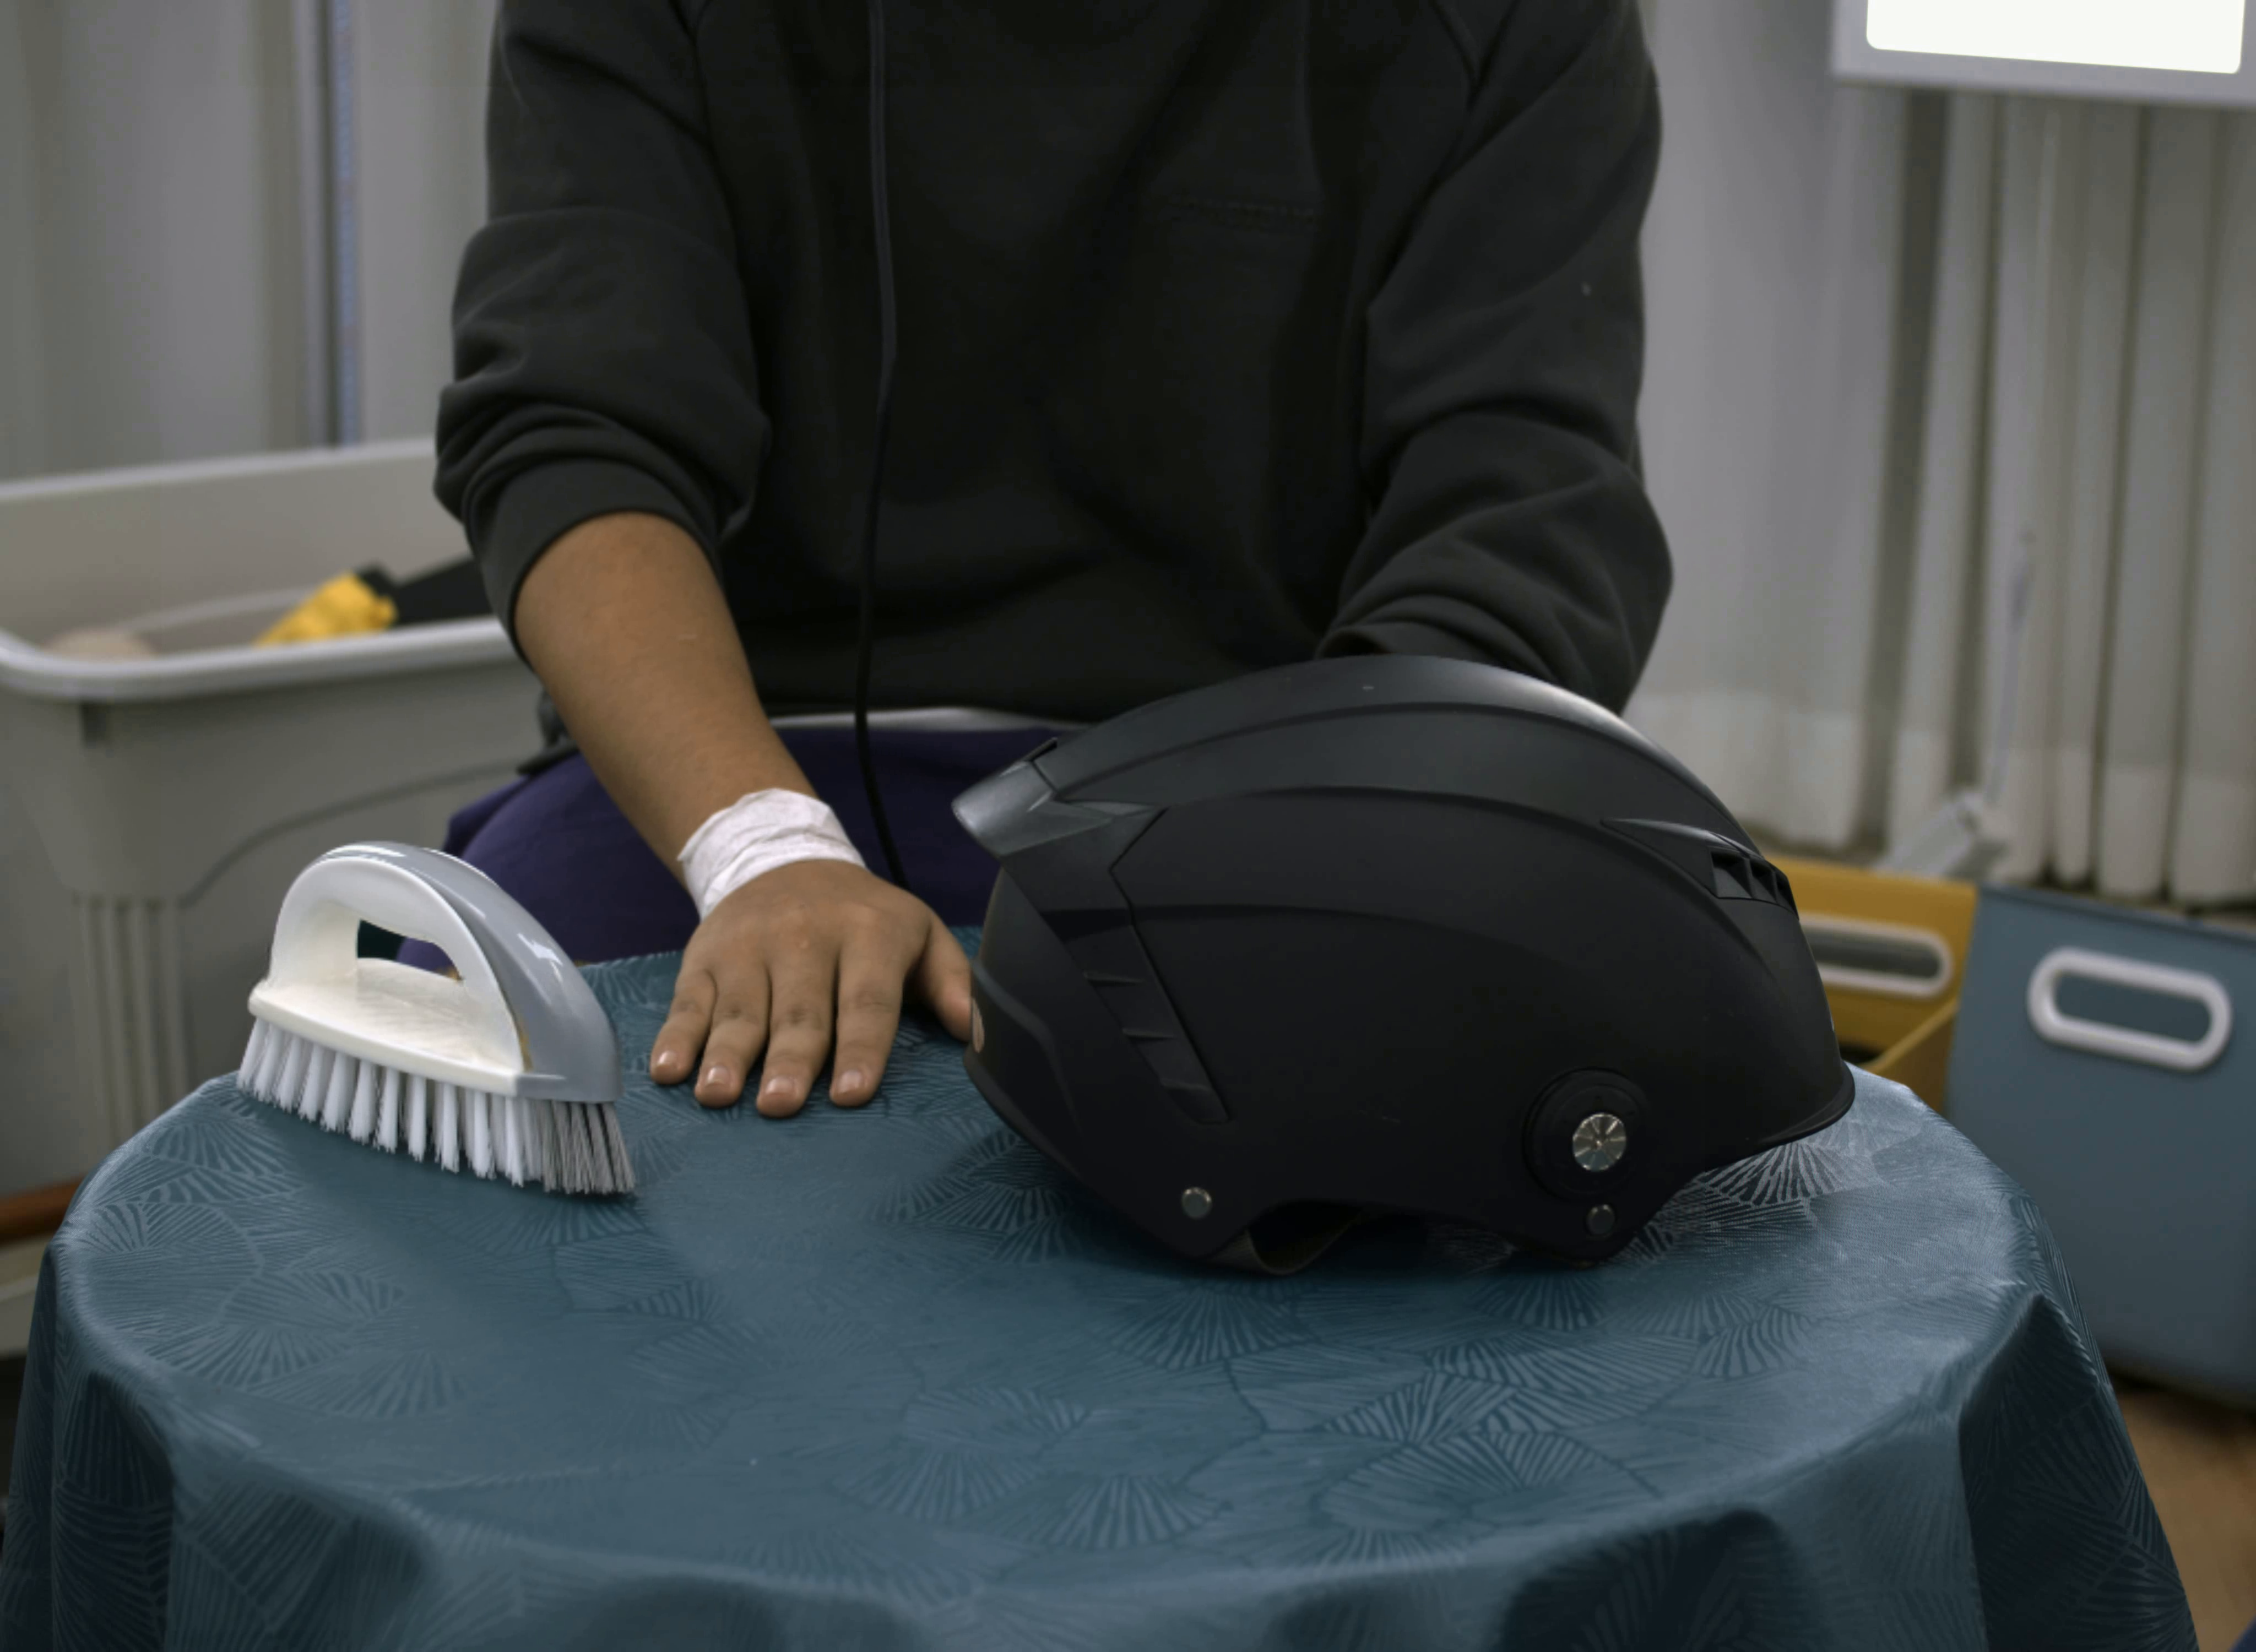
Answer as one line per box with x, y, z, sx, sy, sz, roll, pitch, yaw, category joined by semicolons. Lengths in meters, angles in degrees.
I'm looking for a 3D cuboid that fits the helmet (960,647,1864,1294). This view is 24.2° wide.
0.084;0.031;1.623;0.276;0.174;0.244;-6;17;-10;helmet

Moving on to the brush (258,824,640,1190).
-0.210;0.053;1.656;0.062;0.095;0.173;-18;27;-39;brush
